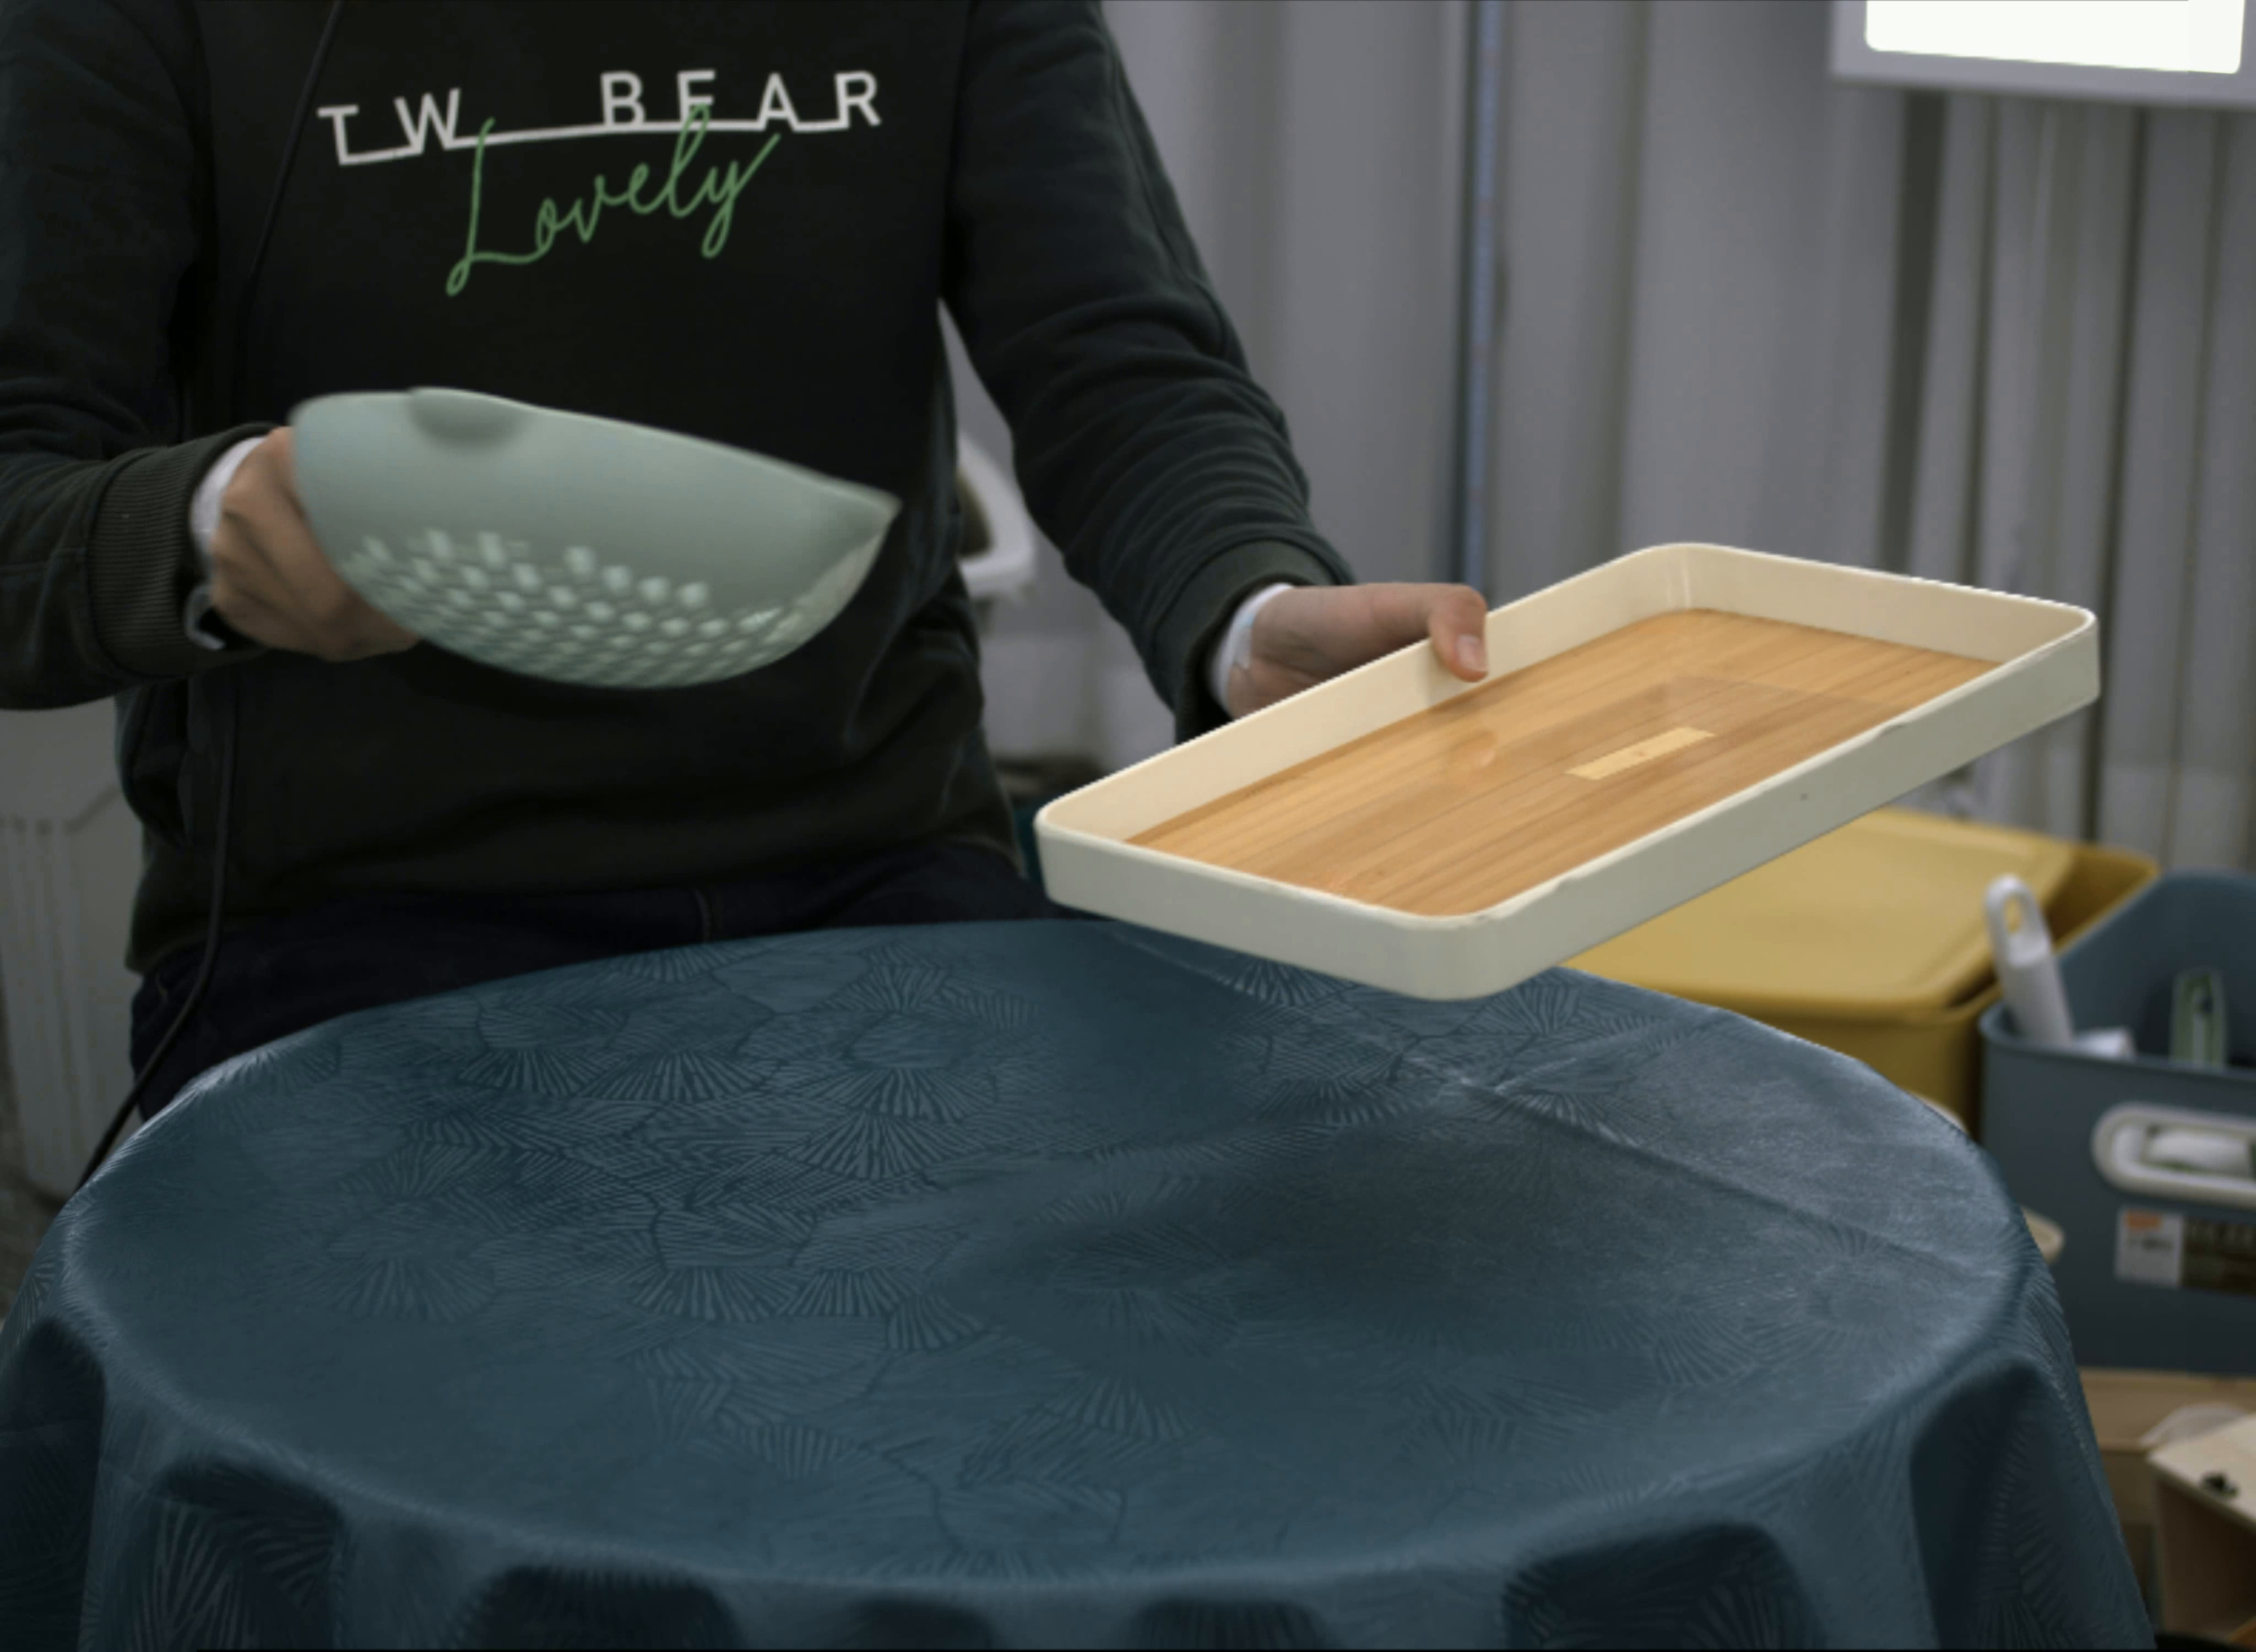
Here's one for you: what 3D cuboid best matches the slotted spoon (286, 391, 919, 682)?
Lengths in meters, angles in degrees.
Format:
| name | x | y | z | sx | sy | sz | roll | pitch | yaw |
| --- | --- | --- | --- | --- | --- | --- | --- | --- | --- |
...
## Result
| name | x | y | z | sx | sy | sz | roll | pitch | yaw |
| --- | --- | --- | --- | --- | --- | --- | --- | --- | --- |
| slotted spoon | -0.190 | -0.082 | 1.555 | 0.170 | 0.075 | 0.355 | 12 | 0 | -25 |

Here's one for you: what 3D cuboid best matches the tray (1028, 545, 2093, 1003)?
| name | x | y | z | sx | sy | sz | roll | pitch | yaw |
| --- | --- | --- | --- | --- | --- | --- | --- | --- | --- |
| tray | 0.135 | -0.021 | 1.612 | 0.301 | 0.027 | 0.189 | -23 | 25 | -38 |
